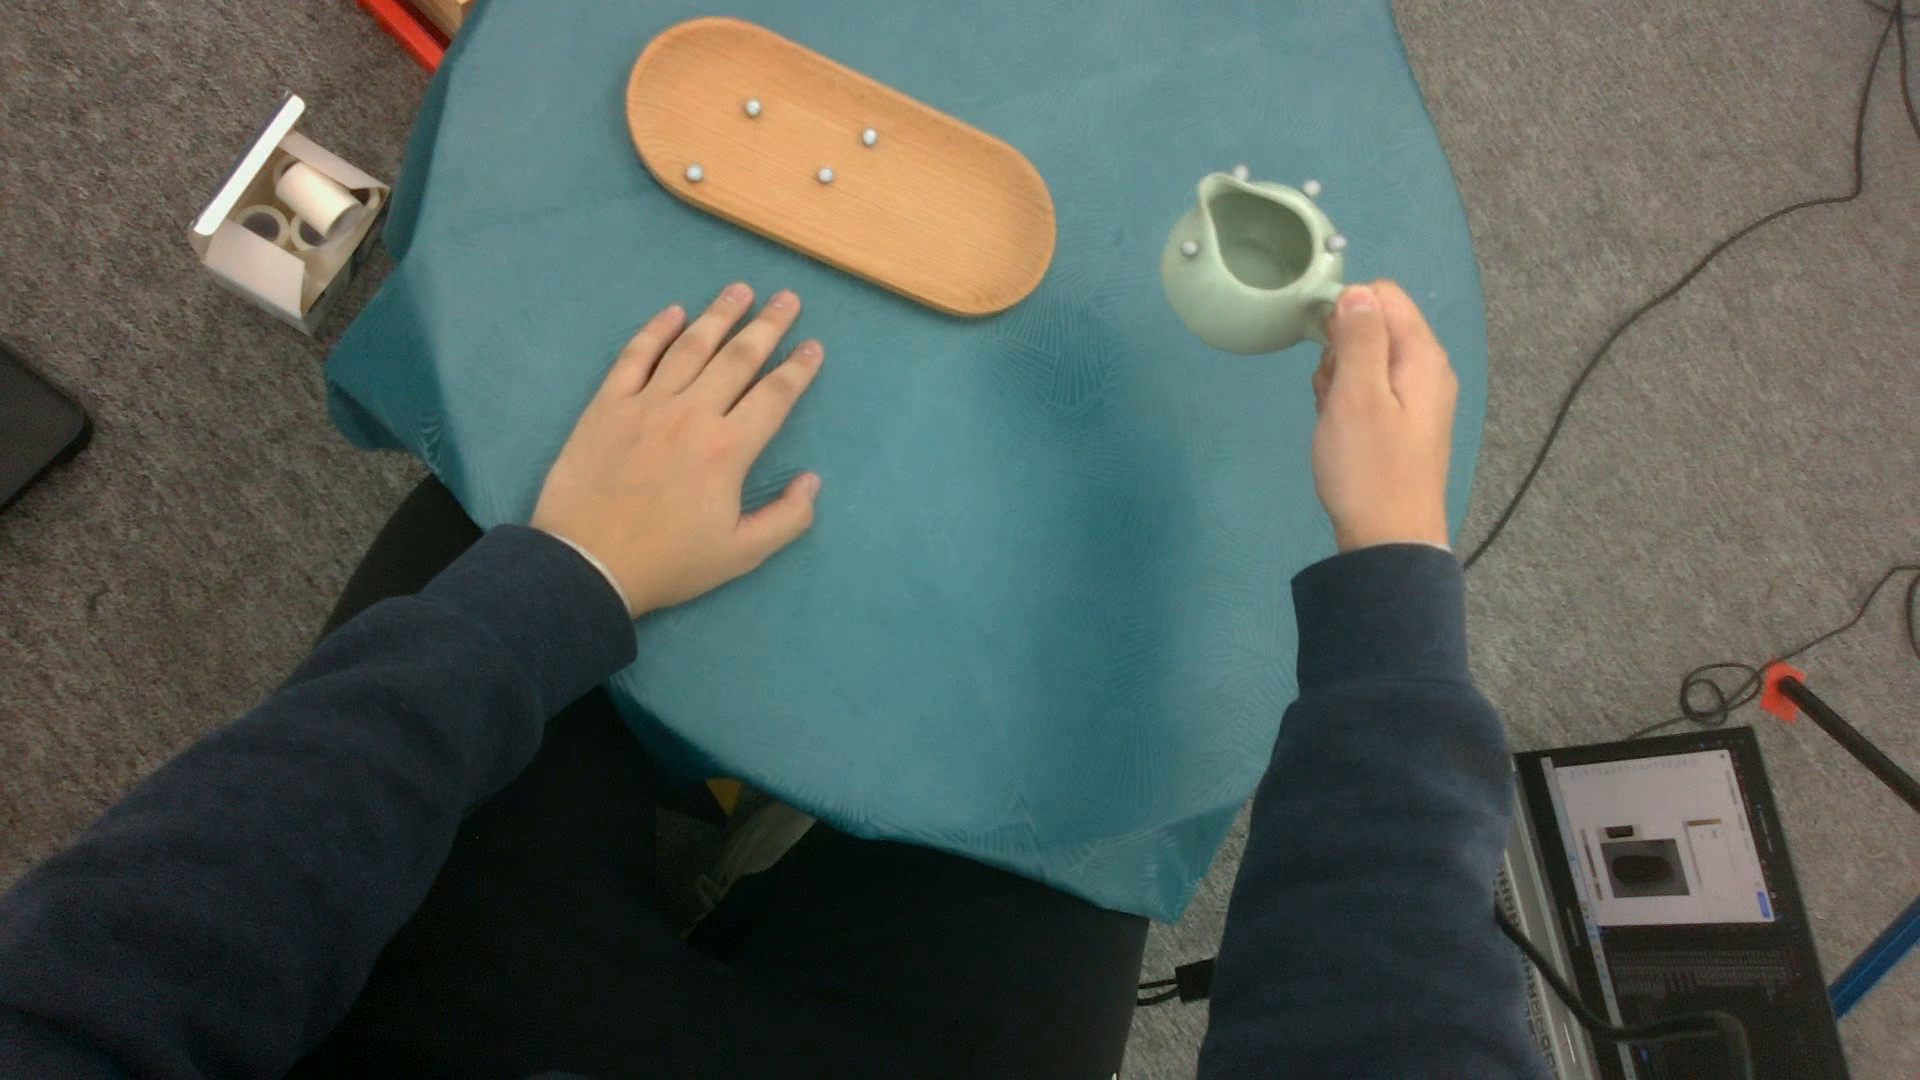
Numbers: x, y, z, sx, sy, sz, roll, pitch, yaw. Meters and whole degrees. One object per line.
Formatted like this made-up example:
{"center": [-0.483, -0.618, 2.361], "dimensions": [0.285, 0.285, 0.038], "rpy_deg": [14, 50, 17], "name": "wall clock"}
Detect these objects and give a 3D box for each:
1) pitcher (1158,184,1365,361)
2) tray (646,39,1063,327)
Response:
{"center": [0.149, -0.123, 0.662], "dimensions": [0.108, 0.060, 0.086], "rpy_deg": [41, 81, 7], "name": "pitcher"}
{"center": [-0.053, -0.187, 0.731], "dimensions": [0.231, 0.020, 0.102], "rpy_deg": [21, 77, -15], "name": "tray"}
